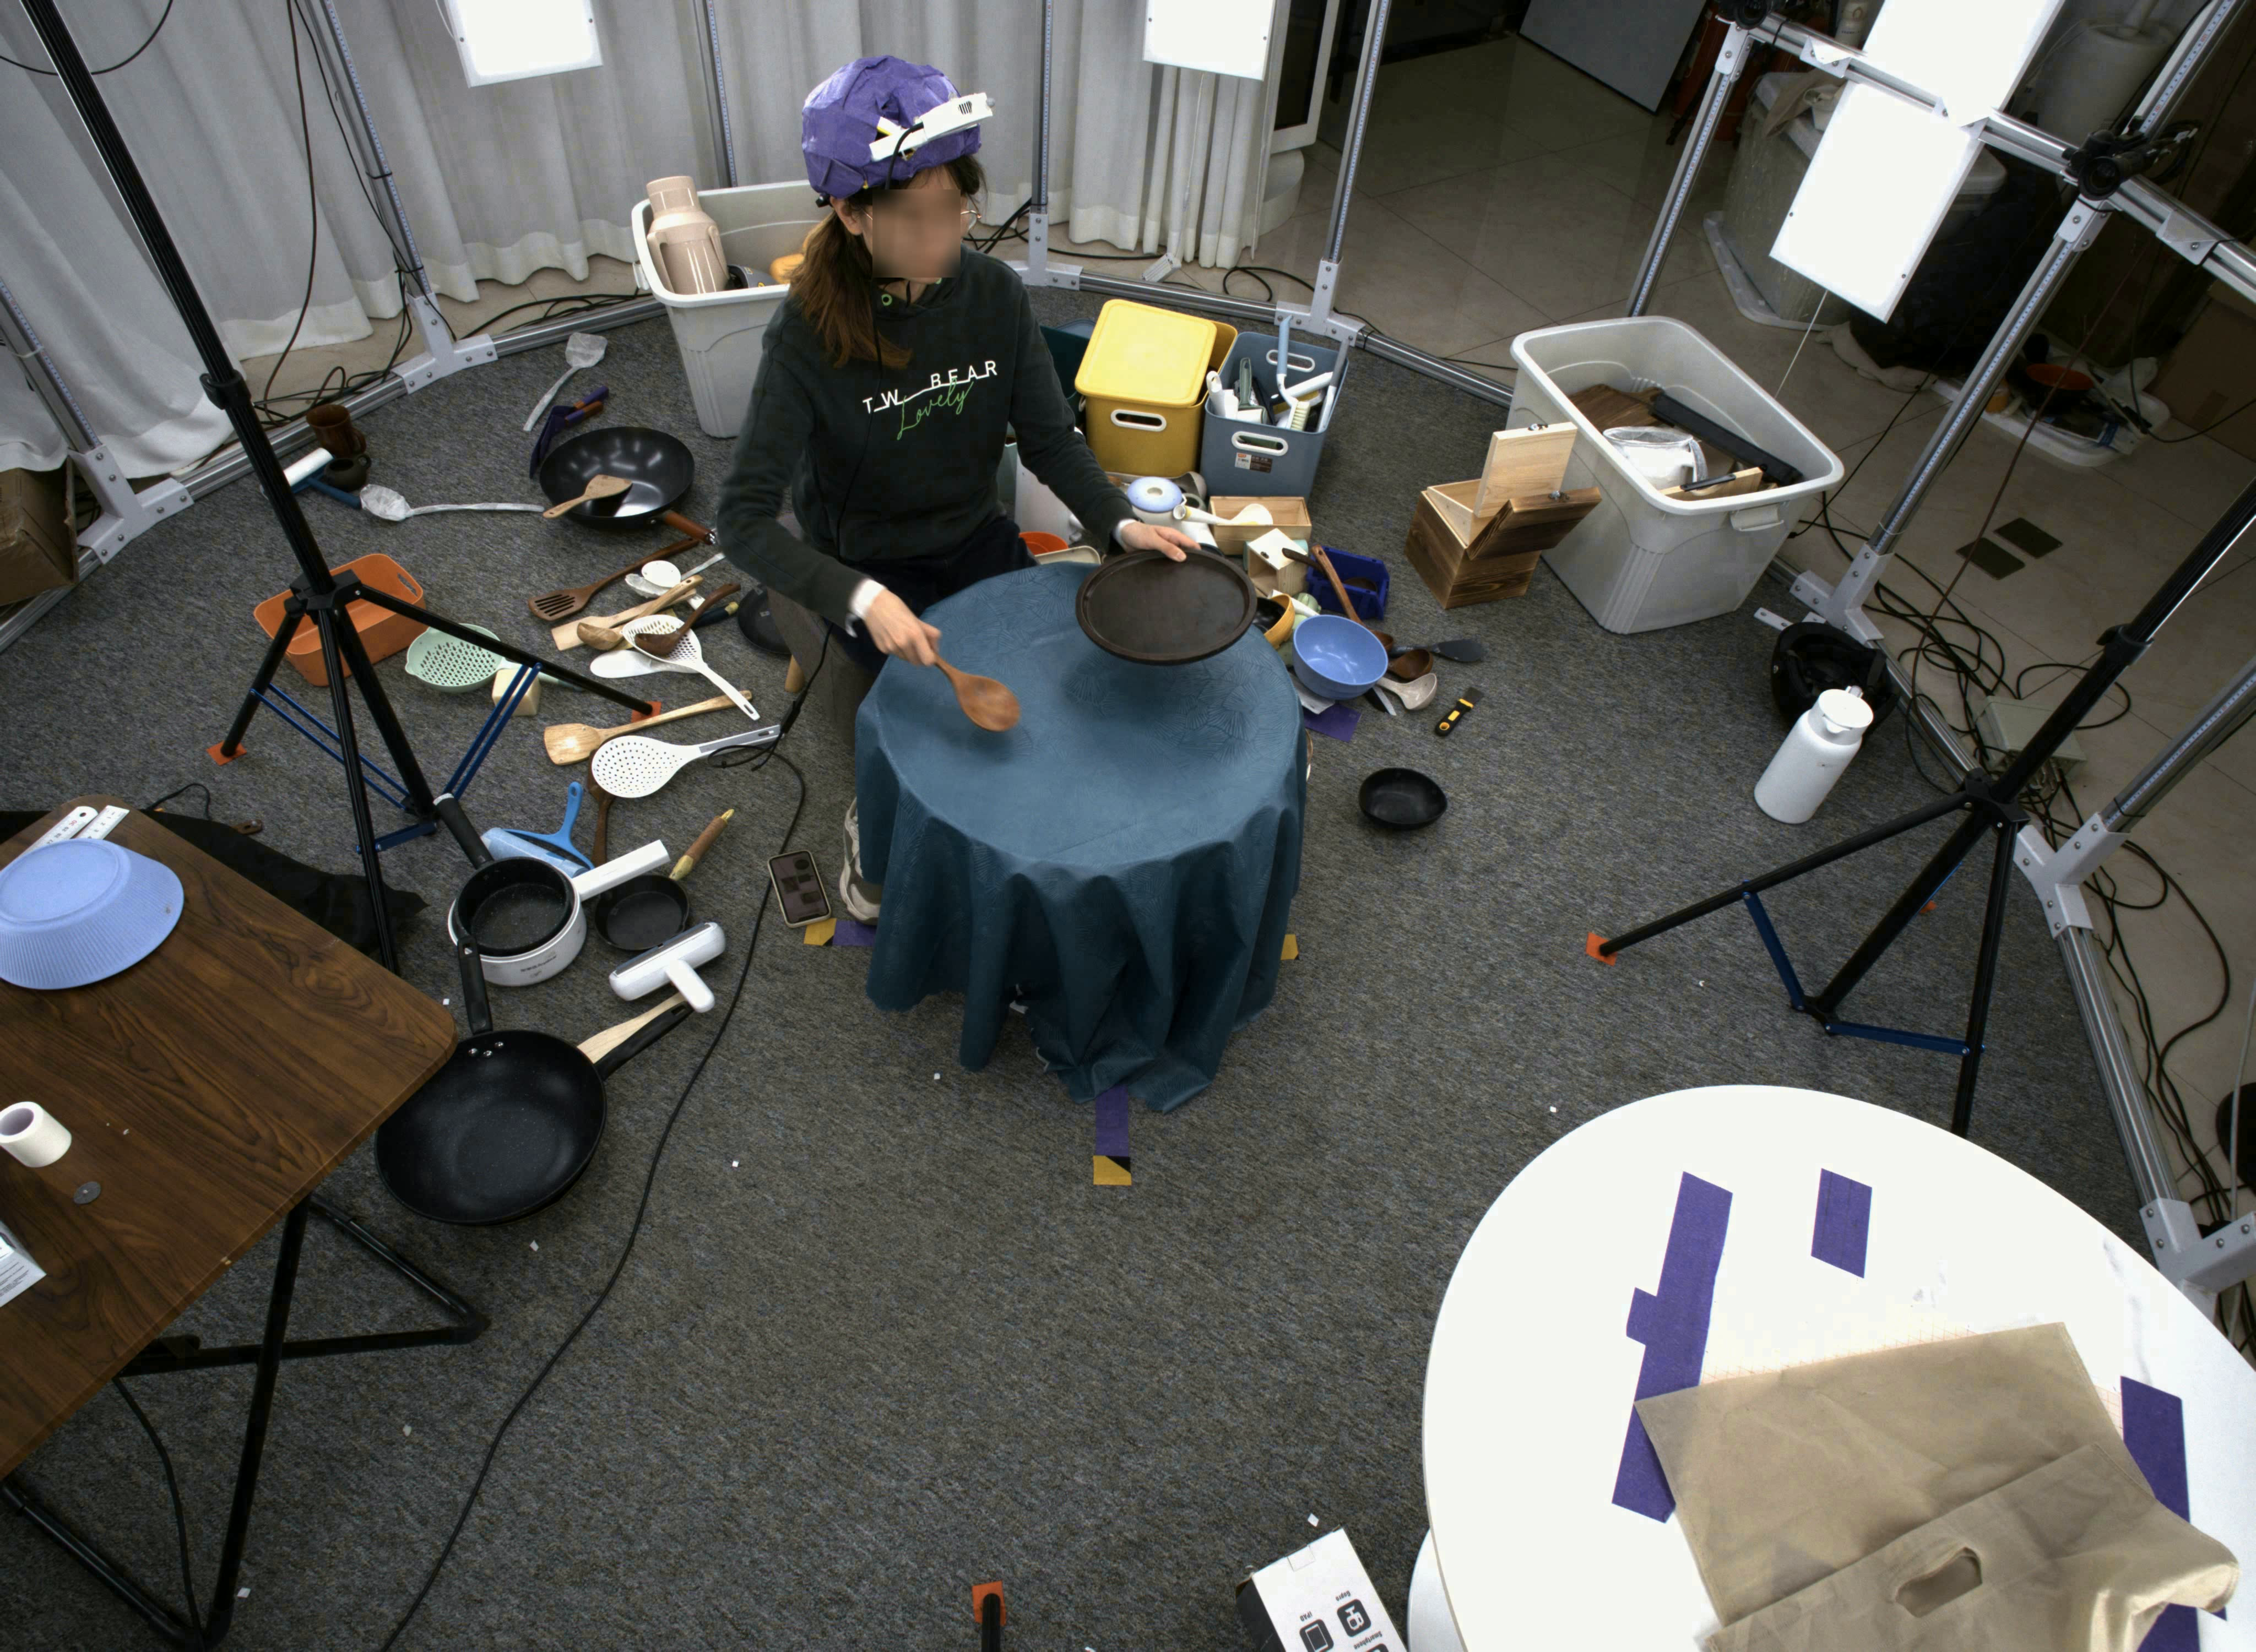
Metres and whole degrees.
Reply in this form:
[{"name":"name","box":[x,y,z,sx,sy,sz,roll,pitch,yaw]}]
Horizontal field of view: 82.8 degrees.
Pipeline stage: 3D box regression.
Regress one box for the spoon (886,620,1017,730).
[{"name":"spoon","box":[-0.242,-0.207,1.752,0.216,0.017,0.076,41,58,3]}]

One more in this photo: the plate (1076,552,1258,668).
[{"name":"plate","box":[0.055,-0.304,1.800,0.254,0.028,0.261,-2,46,1]}]
